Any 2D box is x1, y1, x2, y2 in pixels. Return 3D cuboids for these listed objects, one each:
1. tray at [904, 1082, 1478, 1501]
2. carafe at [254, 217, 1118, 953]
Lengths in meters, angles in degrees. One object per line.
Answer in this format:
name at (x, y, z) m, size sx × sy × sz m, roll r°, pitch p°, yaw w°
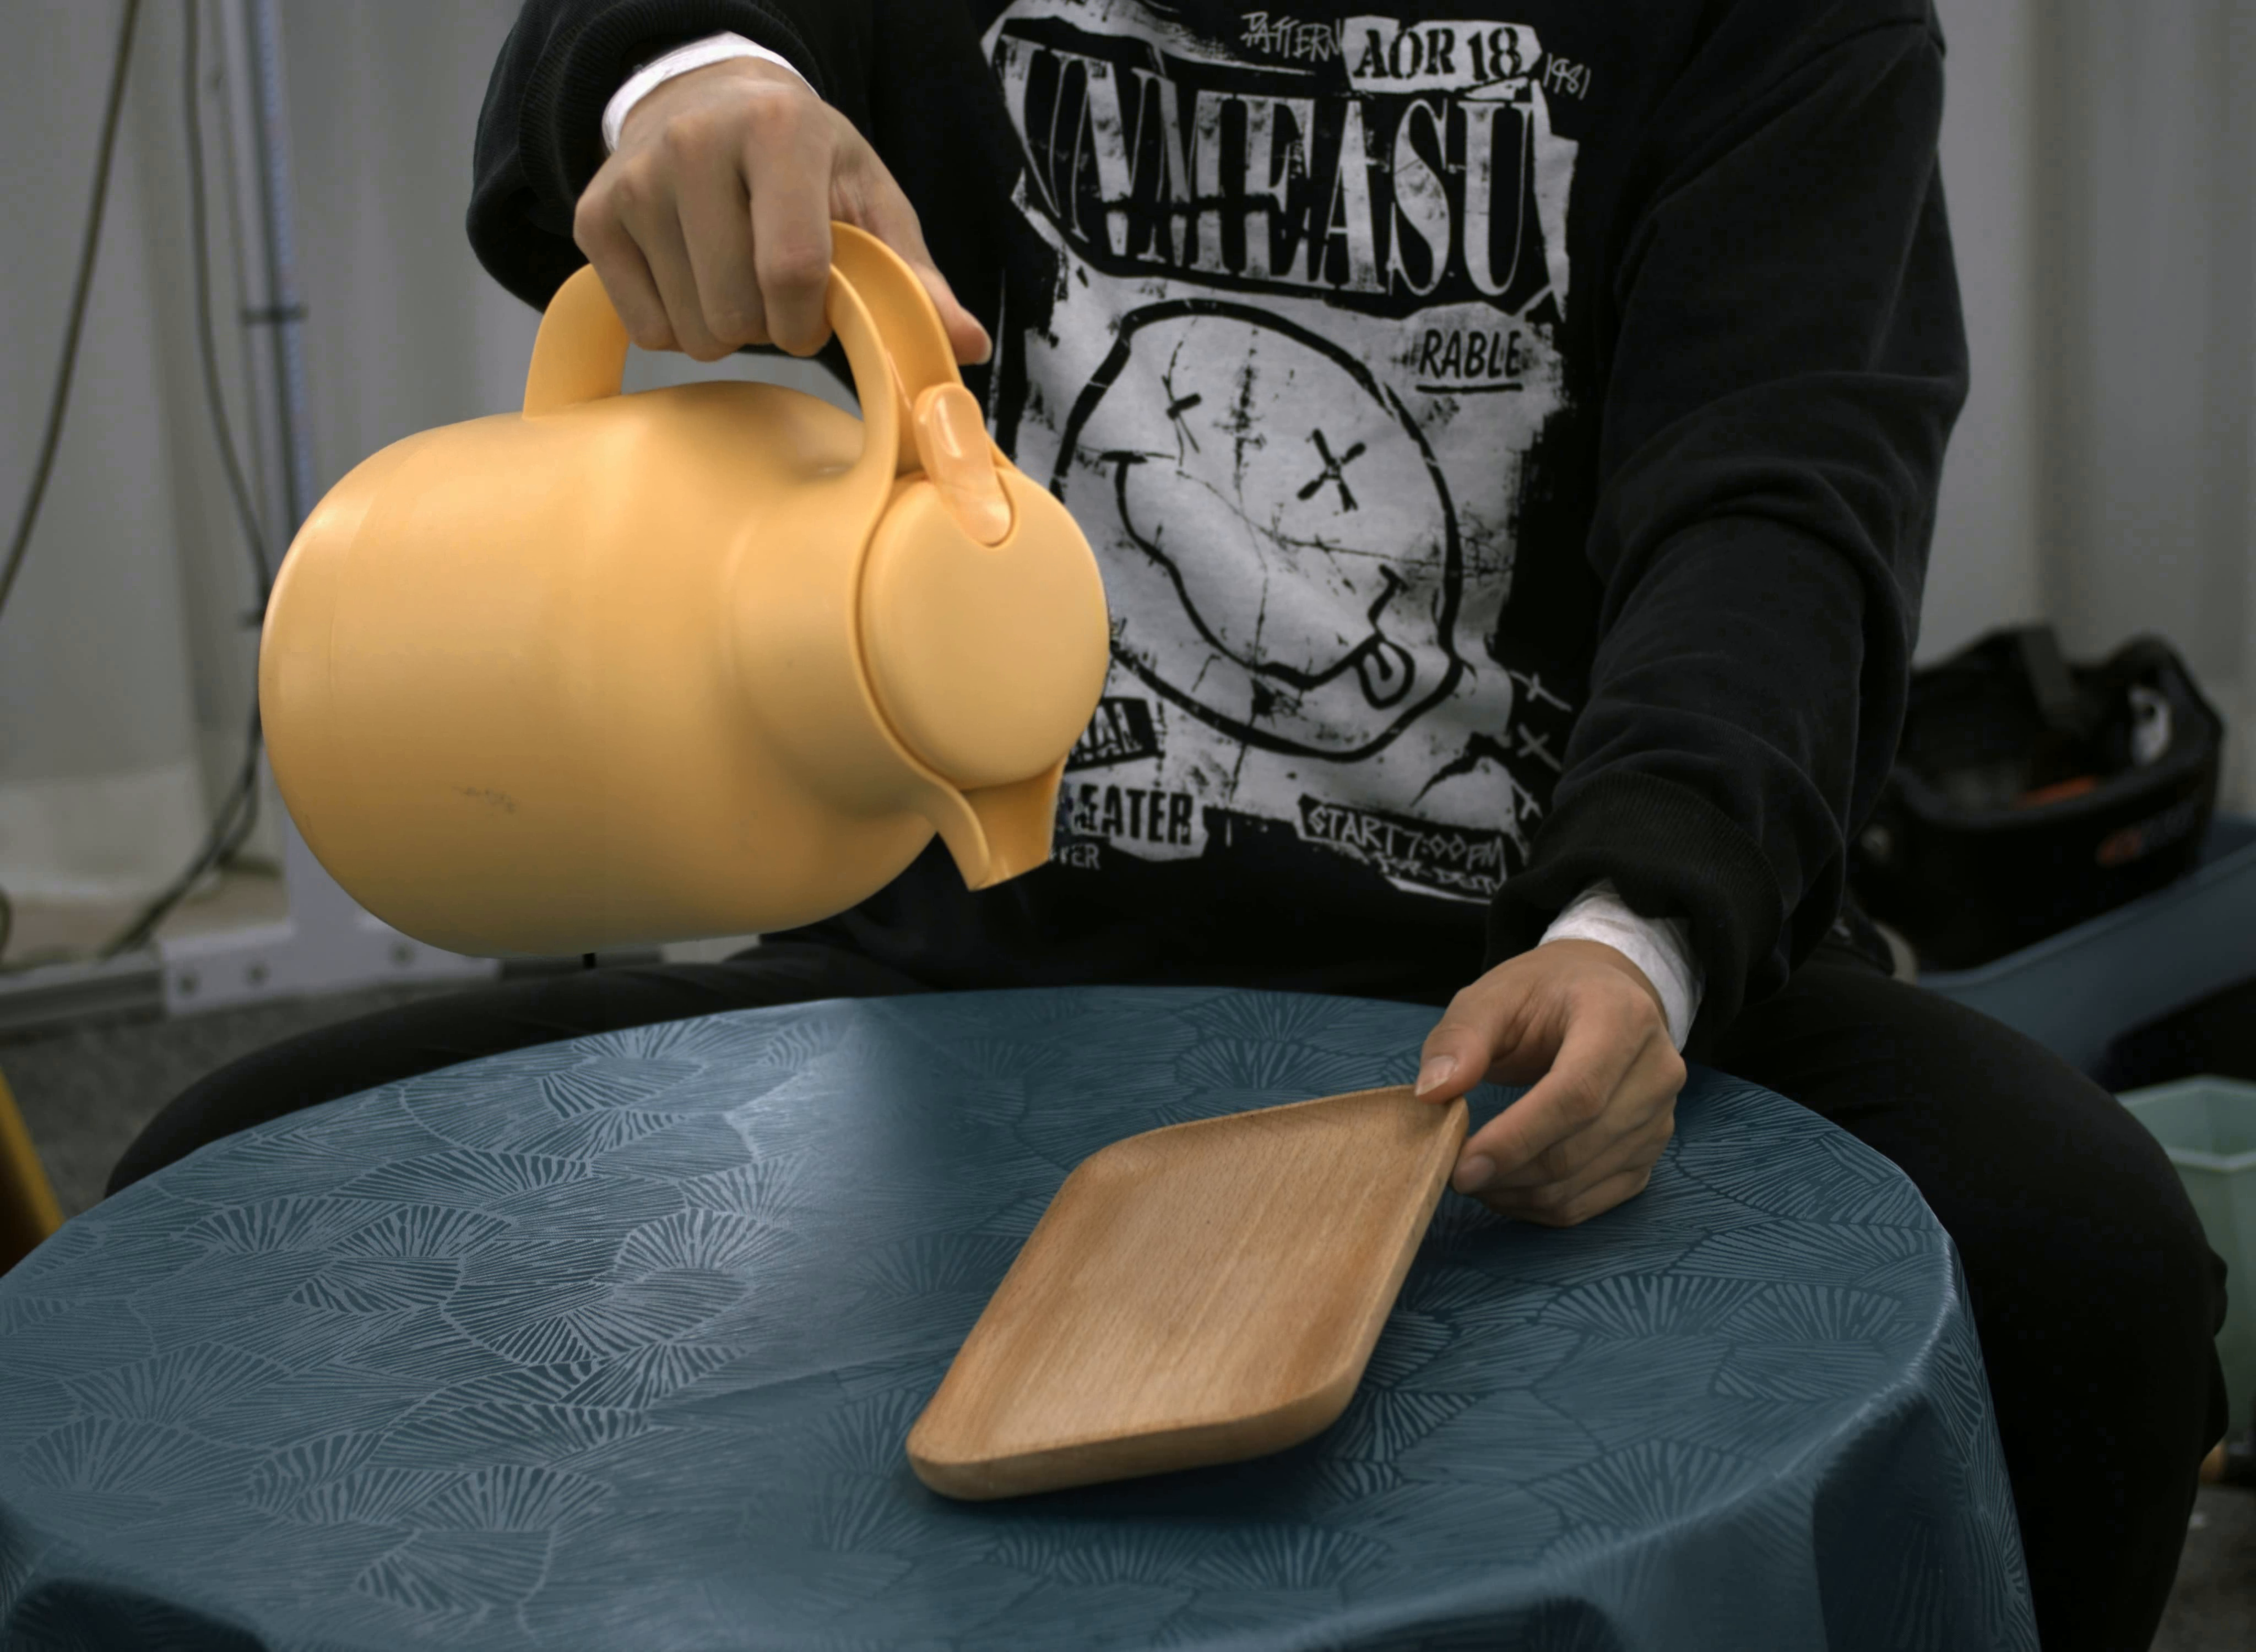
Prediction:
tray at (0.023, 0.130, 1.559) m, size 0.130 × 0.023 × 0.252 m, roll -8°, pitch 15°, yaw 17°
carafe at (-0.124, -0.068, 1.583) m, size 0.261 × 0.202 × 0.163 m, roll -5°, pitch 5°, yaw 42°
